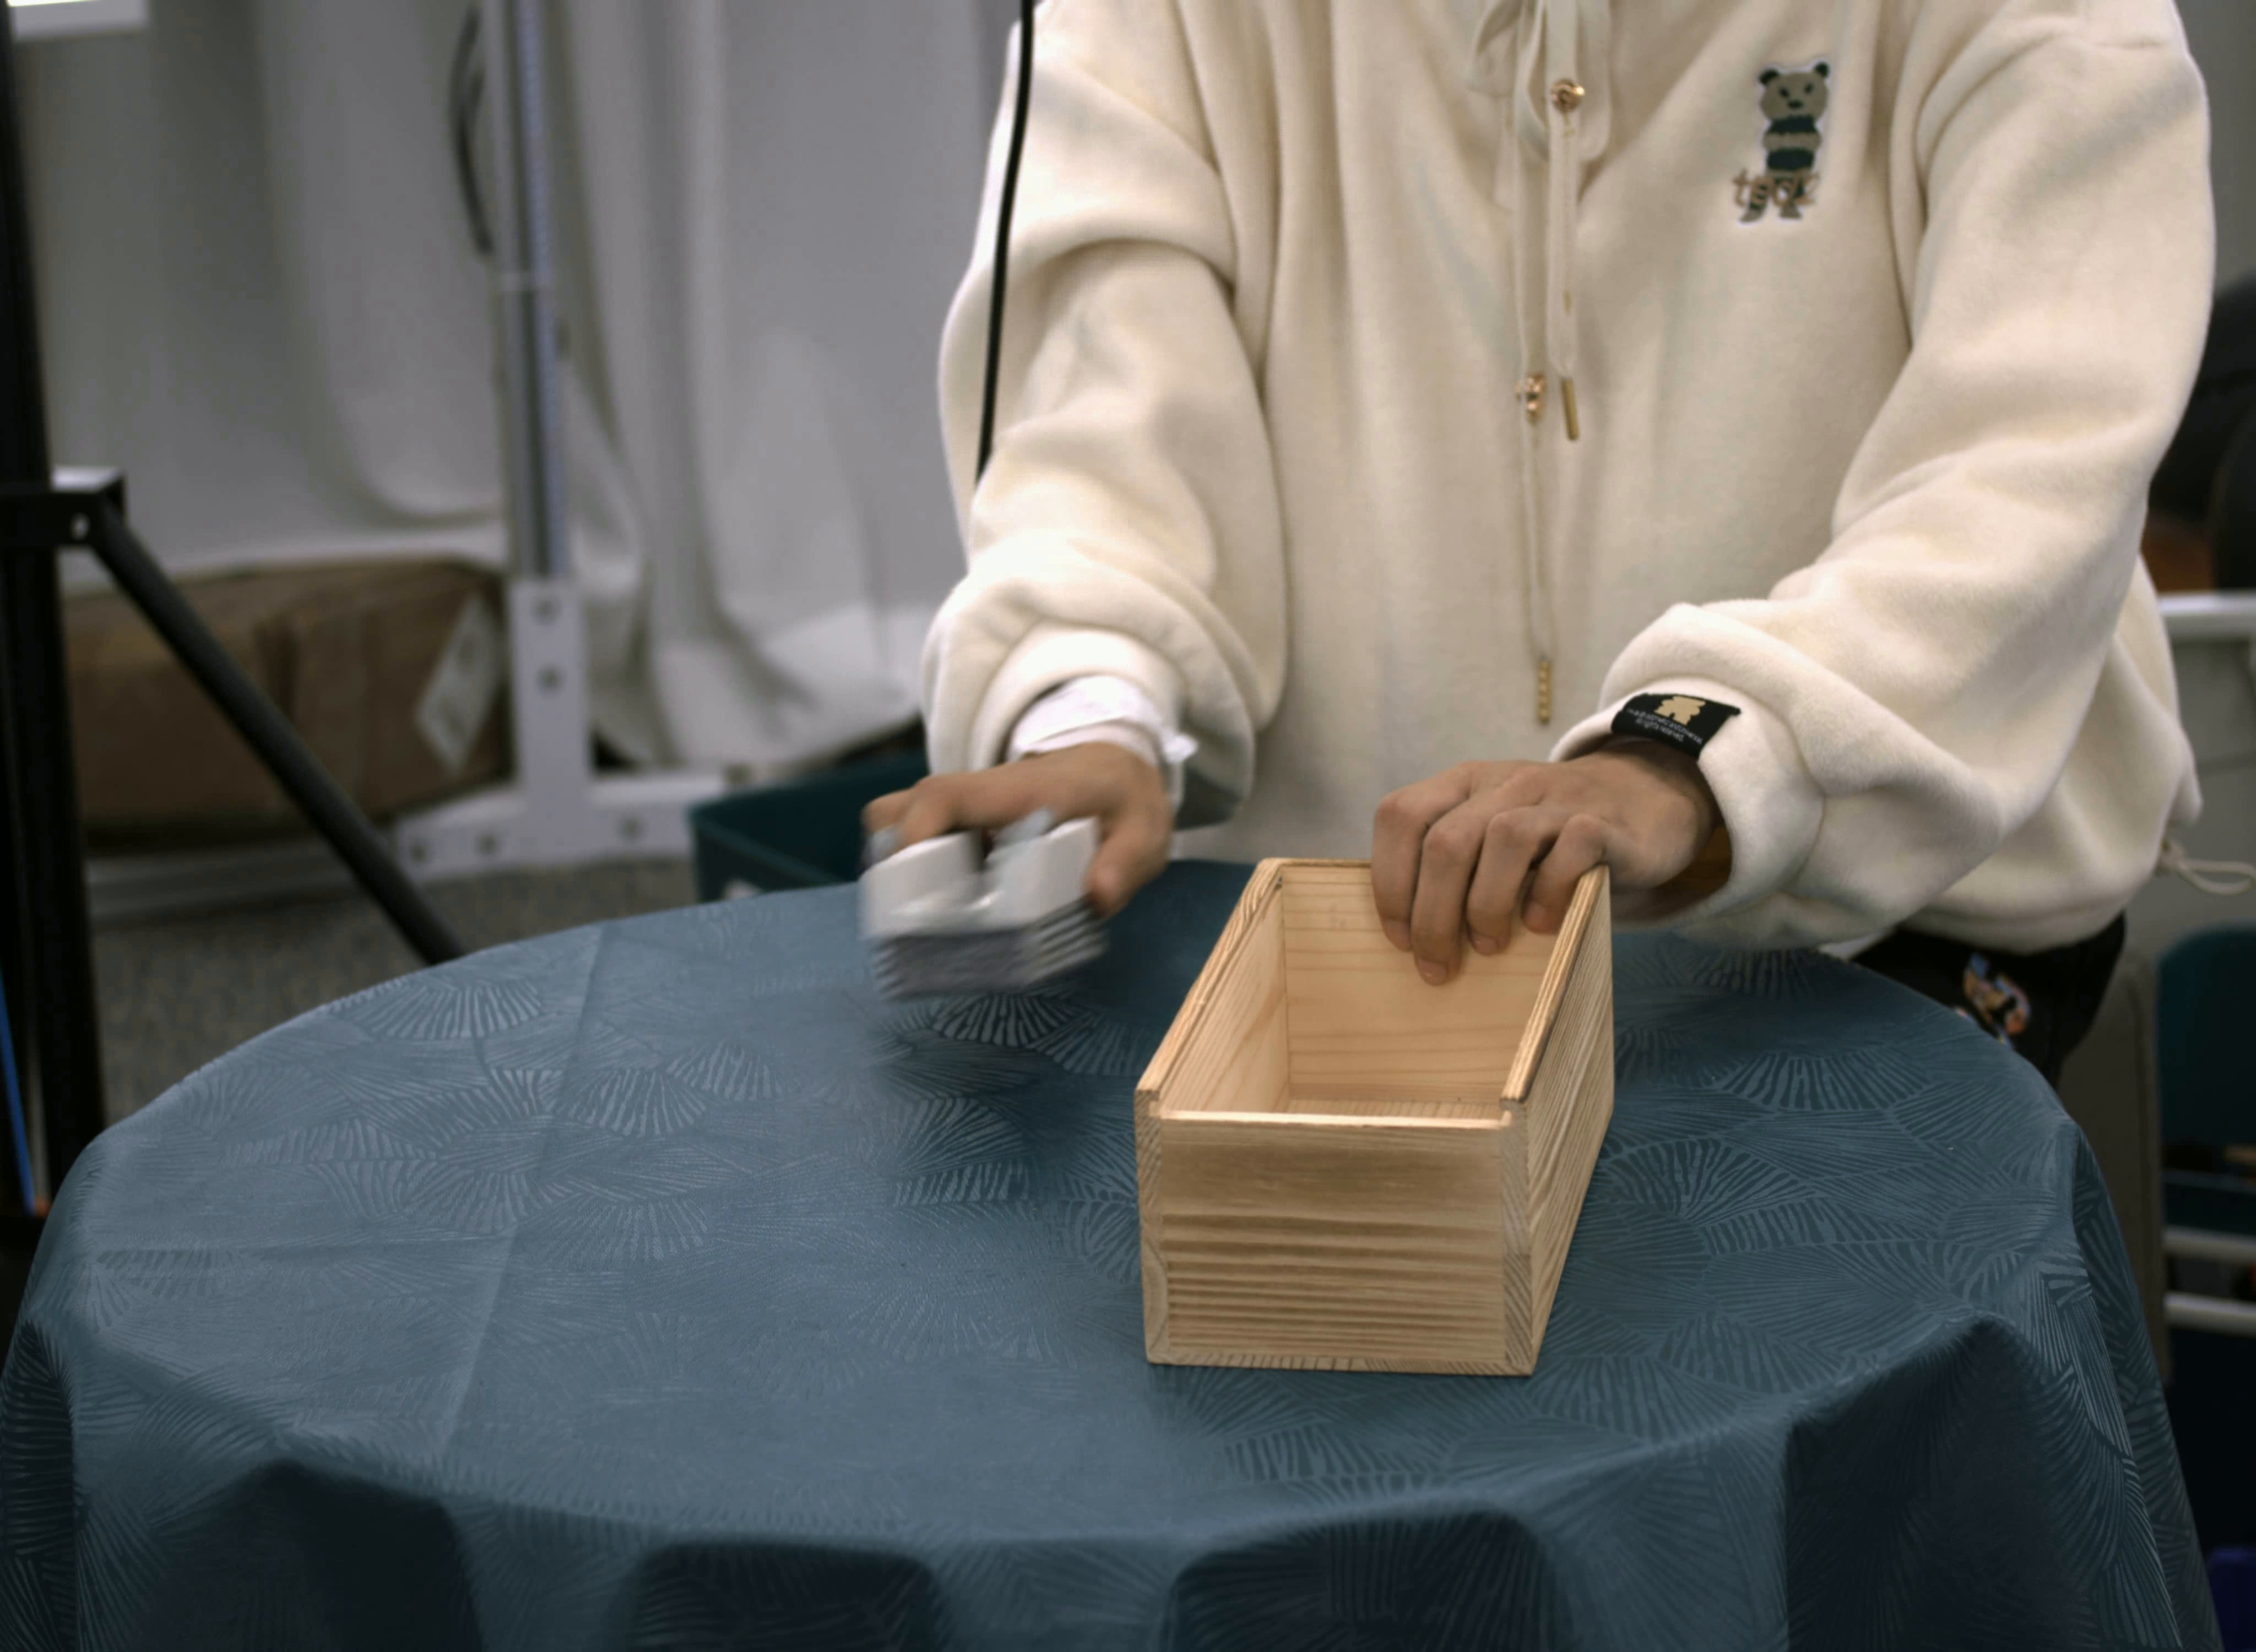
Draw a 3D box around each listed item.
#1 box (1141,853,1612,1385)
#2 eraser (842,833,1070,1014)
[{"bbox_3d":[0.075,0.078,1.500,0.108,0.080,0.210,1,17,11],"label":"box"},{"bbox_3d":[-0.051,0.029,1.642,0.050,0.047,0.133,-6,4,8],"label":"eraser"}]
